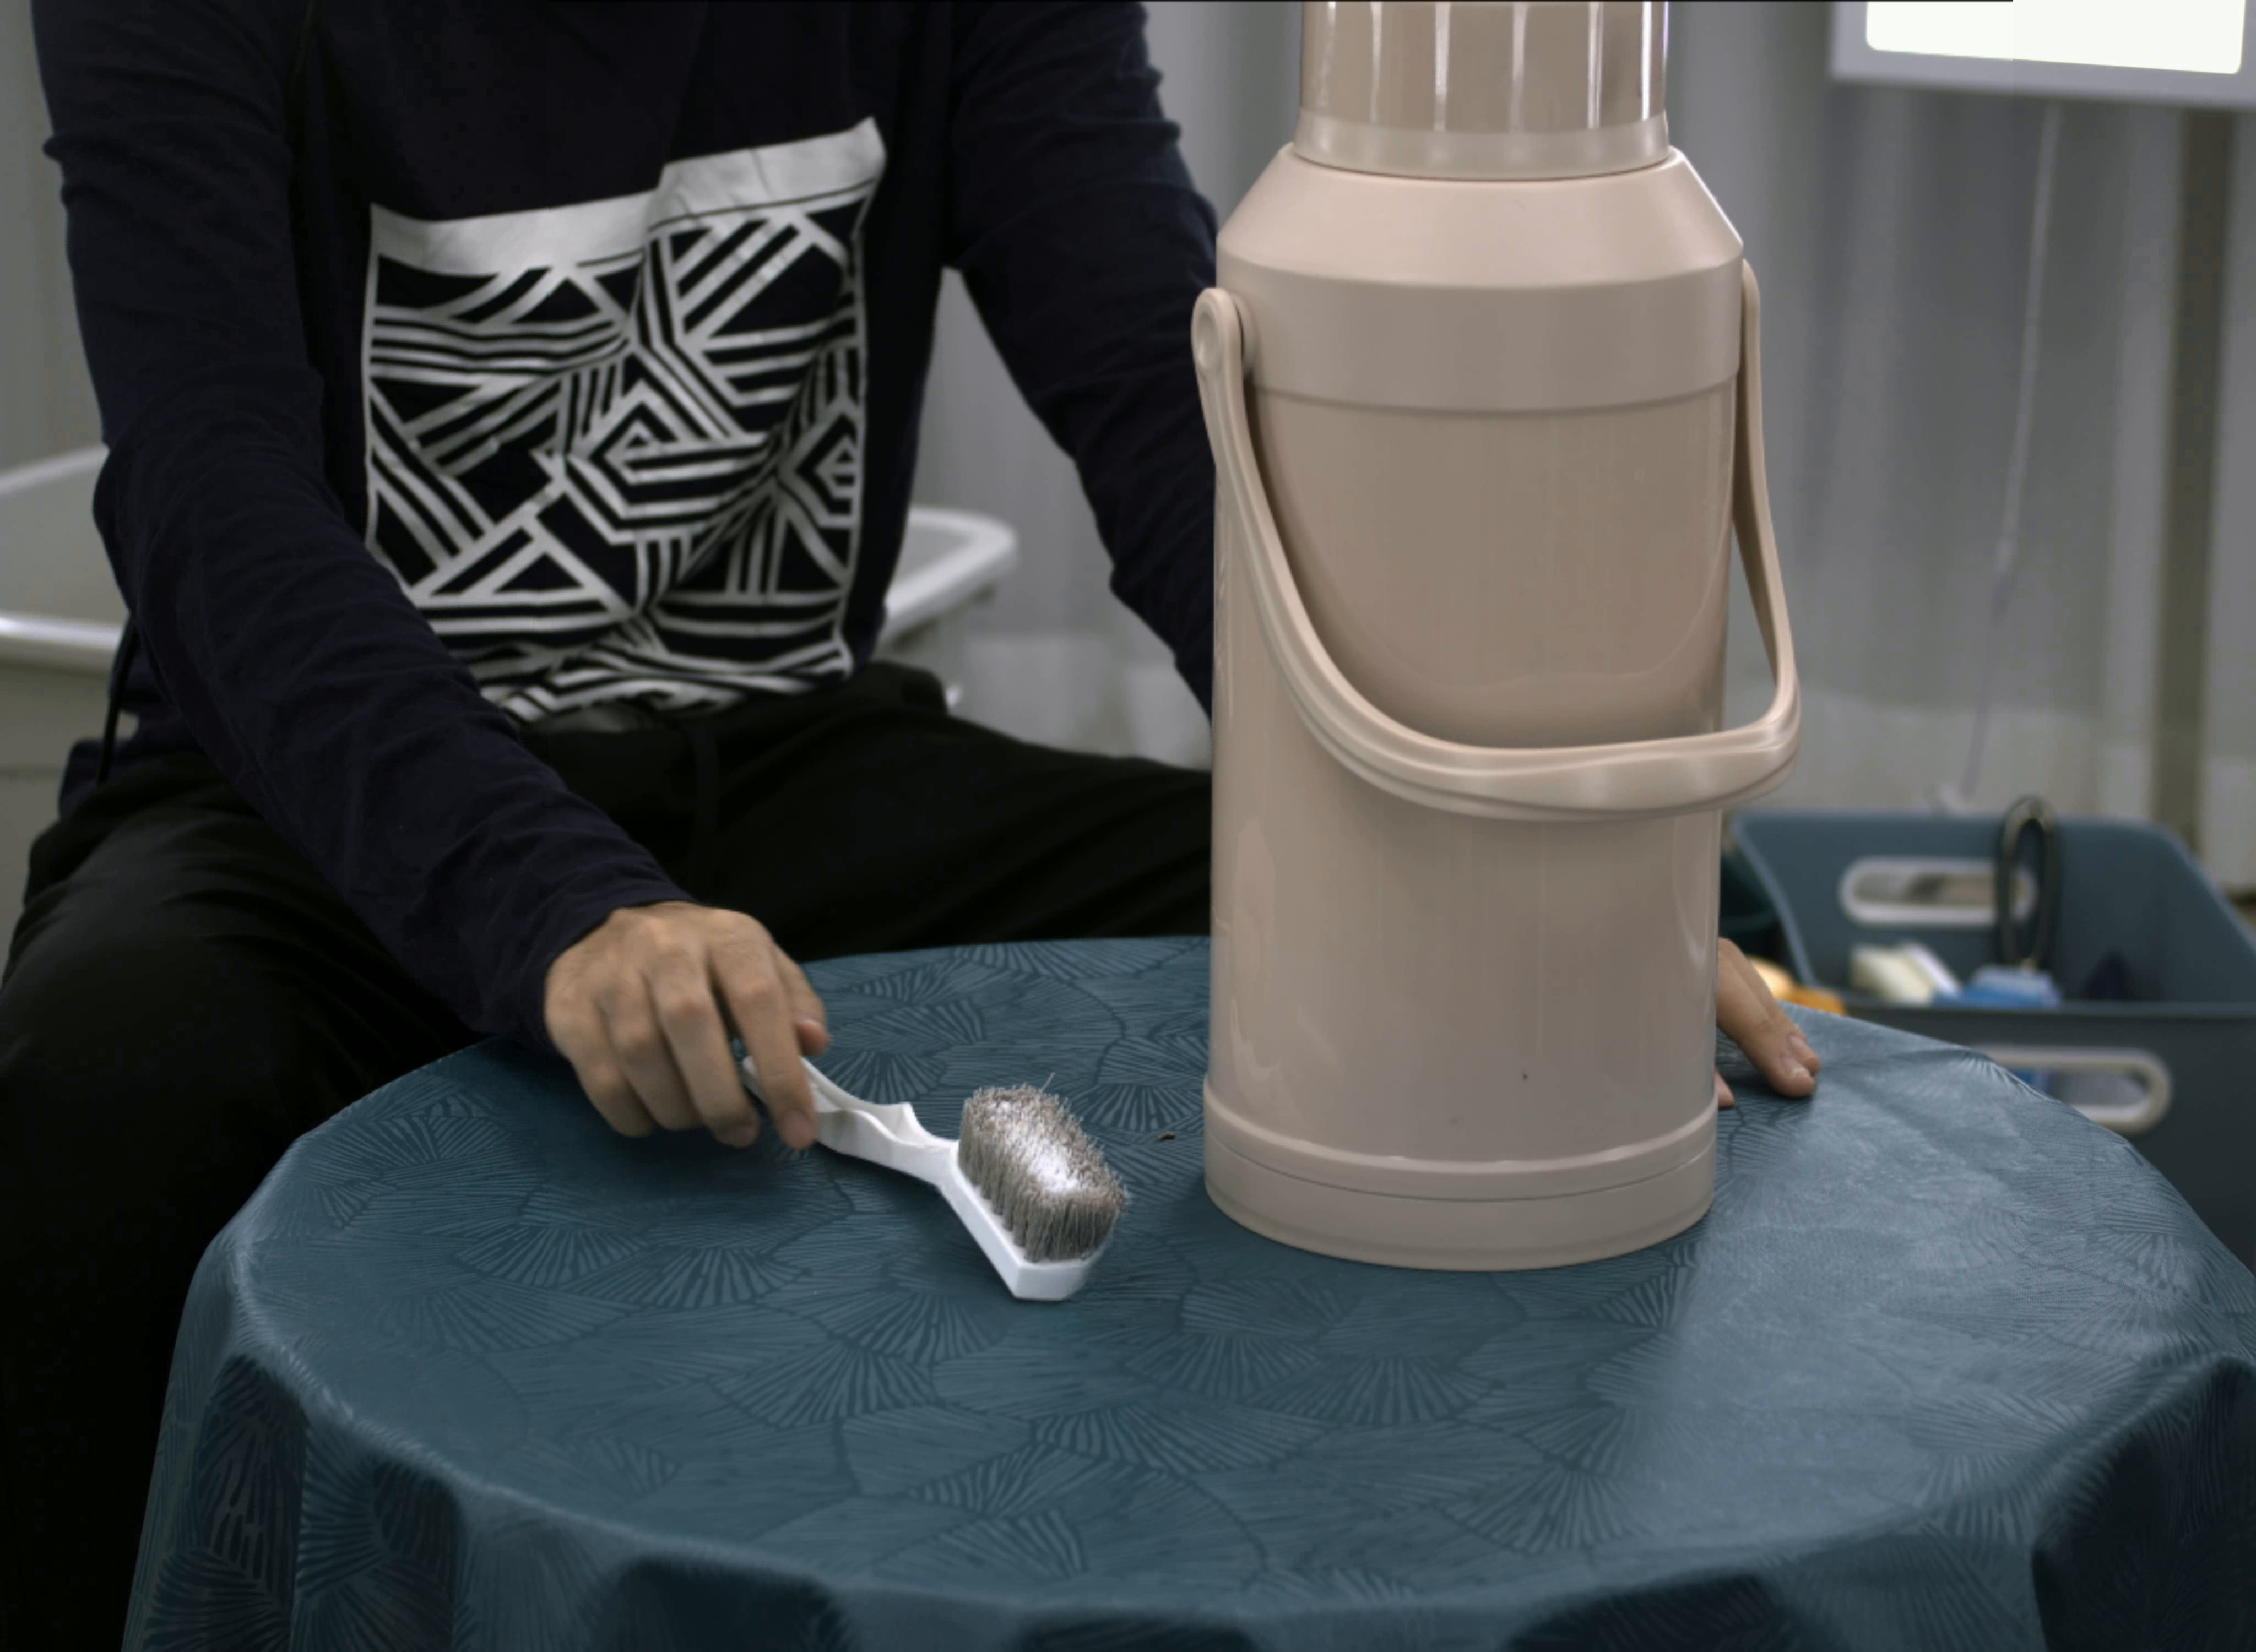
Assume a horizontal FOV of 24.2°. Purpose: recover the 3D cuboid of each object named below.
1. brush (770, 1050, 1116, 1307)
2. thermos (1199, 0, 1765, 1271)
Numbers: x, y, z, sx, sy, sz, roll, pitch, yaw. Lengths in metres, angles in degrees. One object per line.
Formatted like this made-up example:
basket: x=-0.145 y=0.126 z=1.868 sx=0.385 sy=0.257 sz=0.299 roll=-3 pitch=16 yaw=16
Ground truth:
brush: x=-0.063 y=0.088 z=1.620 sx=0.034 sy=0.050 sz=0.241 roll=-10 pitch=19 yaw=-21
thermos: x=0.102 y=-0.083 z=1.591 sx=0.176 sy=0.410 sz=0.204 roll=-8 pitch=18 yaw=-22
